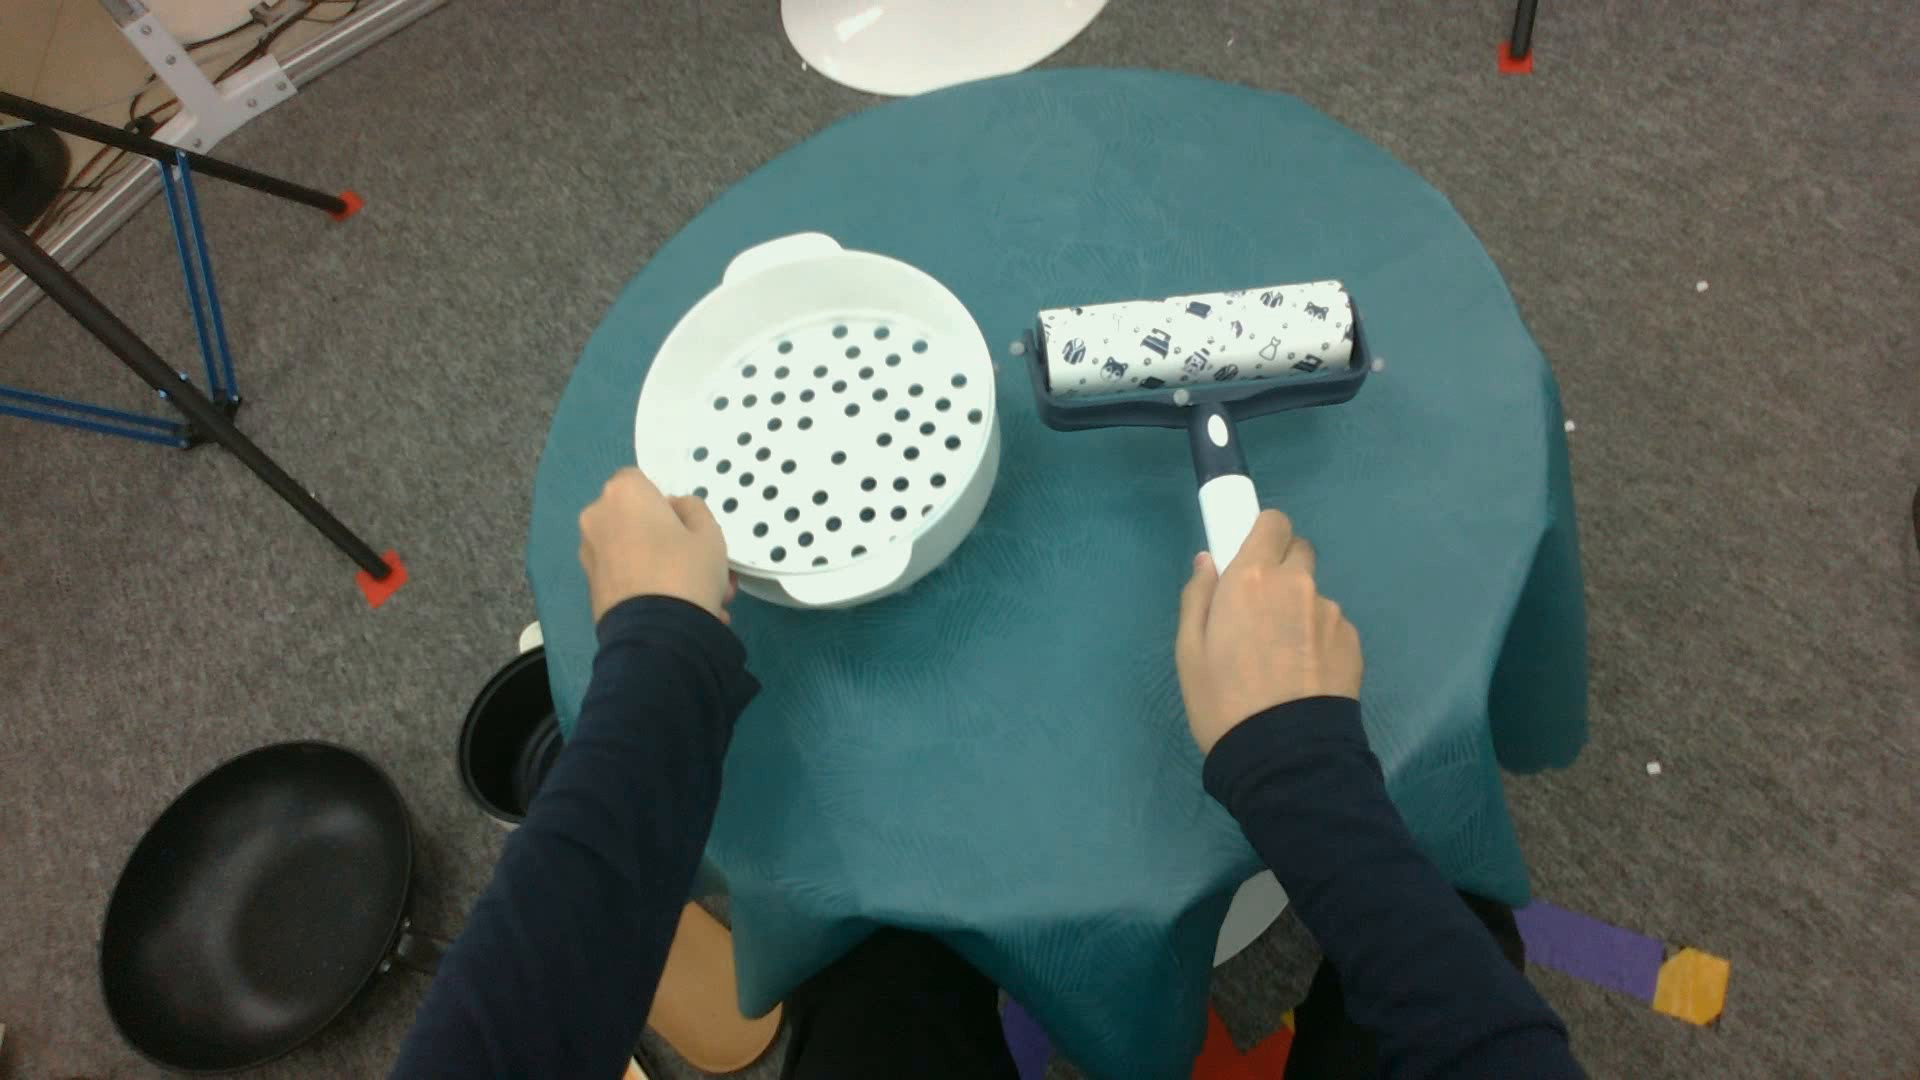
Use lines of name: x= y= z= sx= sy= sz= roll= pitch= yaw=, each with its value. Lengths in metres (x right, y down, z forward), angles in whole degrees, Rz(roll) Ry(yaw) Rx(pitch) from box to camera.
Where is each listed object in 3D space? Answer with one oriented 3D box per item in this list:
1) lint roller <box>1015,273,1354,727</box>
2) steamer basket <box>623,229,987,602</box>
lint roller: x=0.131 y=-0.027 z=0.693 sx=0.176 sy=0.050 sz=0.248 roll=-7 pitch=60 yaw=-2
steamer basket: x=-0.084 y=-0.065 z=0.782 sx=0.202 sy=0.069 sz=0.231 roll=-15 pitch=67 yaw=1
